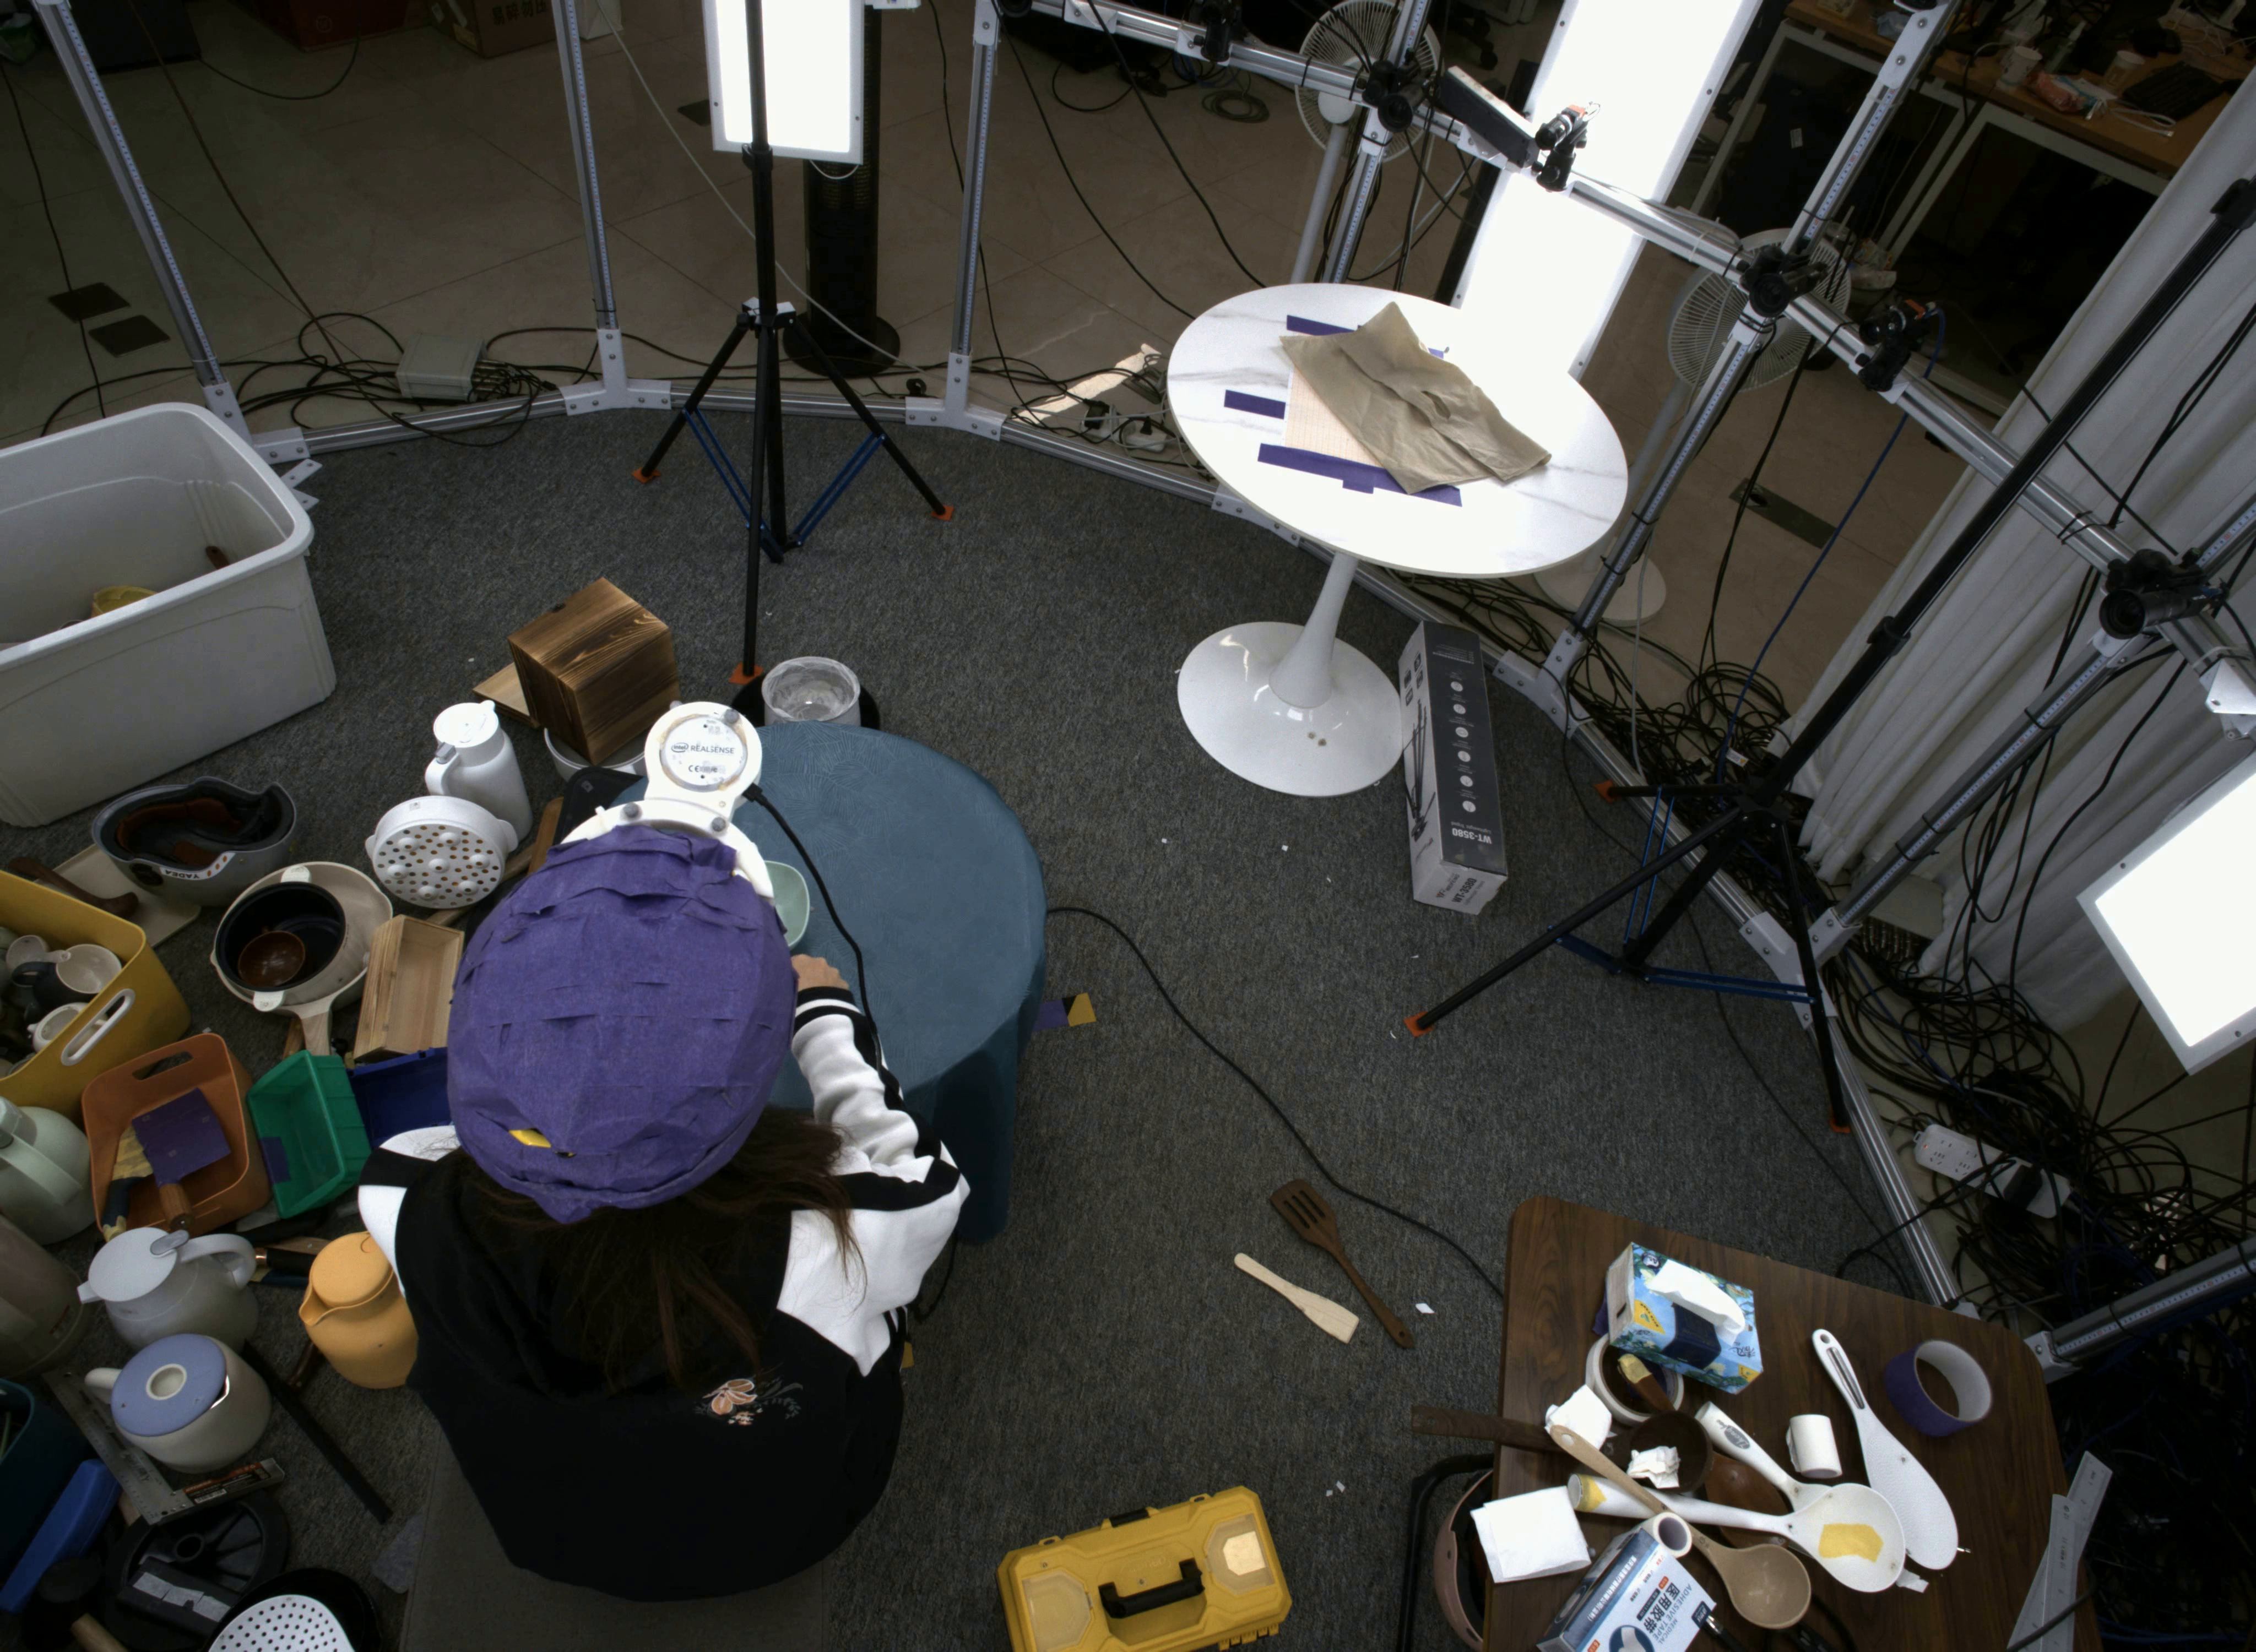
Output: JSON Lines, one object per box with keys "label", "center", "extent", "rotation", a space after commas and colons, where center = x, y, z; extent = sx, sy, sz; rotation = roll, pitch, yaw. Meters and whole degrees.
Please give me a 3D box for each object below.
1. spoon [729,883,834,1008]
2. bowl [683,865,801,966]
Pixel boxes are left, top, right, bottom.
{"label": "spoon", "center": [-0.392, 0.137, 1.490], "extent": [0.059, 0.104, 0.267], "rotation": [-32, 37, -34]}
{"label": "bowl", "center": [-0.471, 0.118, 1.584], "extent": [0.151, 0.060, 0.149], "rotation": [8, 52, -9]}
